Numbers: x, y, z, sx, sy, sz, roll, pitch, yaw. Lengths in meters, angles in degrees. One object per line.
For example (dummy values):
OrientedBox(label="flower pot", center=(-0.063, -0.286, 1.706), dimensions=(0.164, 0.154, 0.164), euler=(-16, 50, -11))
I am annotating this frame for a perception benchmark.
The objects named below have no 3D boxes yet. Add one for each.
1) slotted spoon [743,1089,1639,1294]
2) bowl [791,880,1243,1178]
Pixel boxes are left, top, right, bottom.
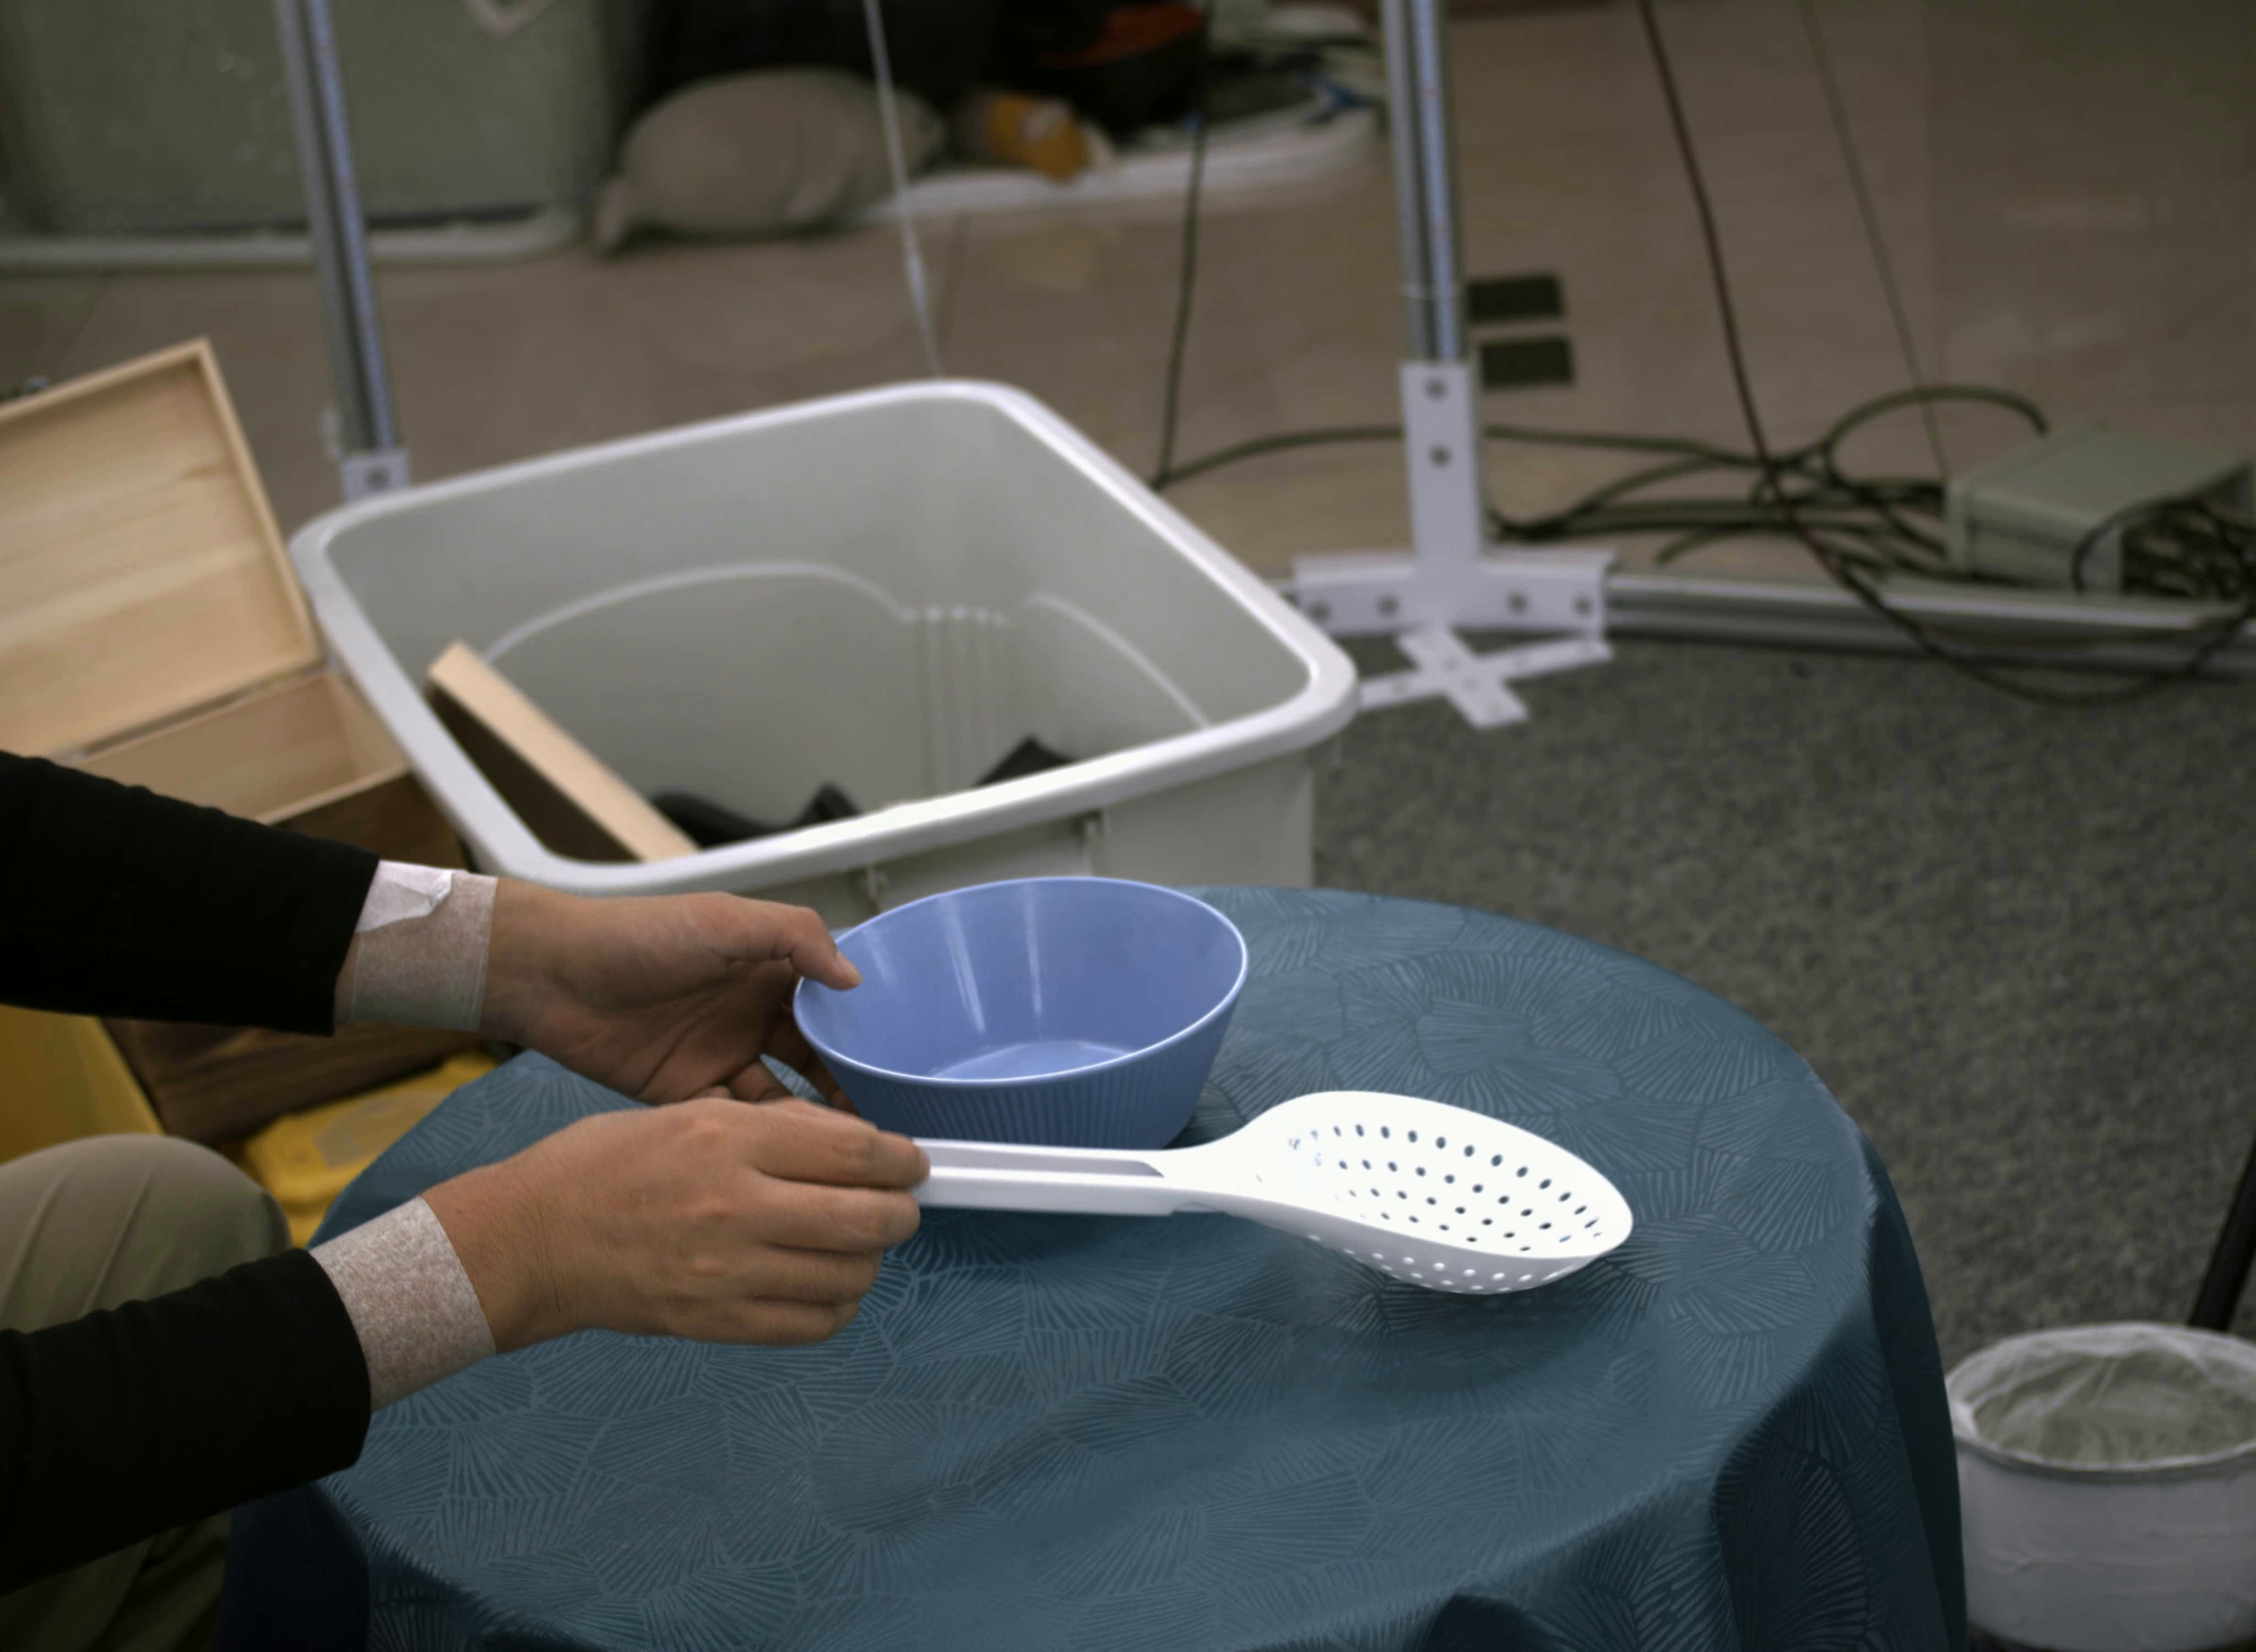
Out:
OrientedBox(label="slotted spoon", center=(0.024, 0.128, 1.995), dimensions=(0.350, 0.046, 0.134), euler=(7, 21, -33))
OrientedBox(label="bowl", center=(-0.039, 0.087, 2.185), dimensions=(0.176, 0.071, 0.173), euler=(-6, 25, 3))
